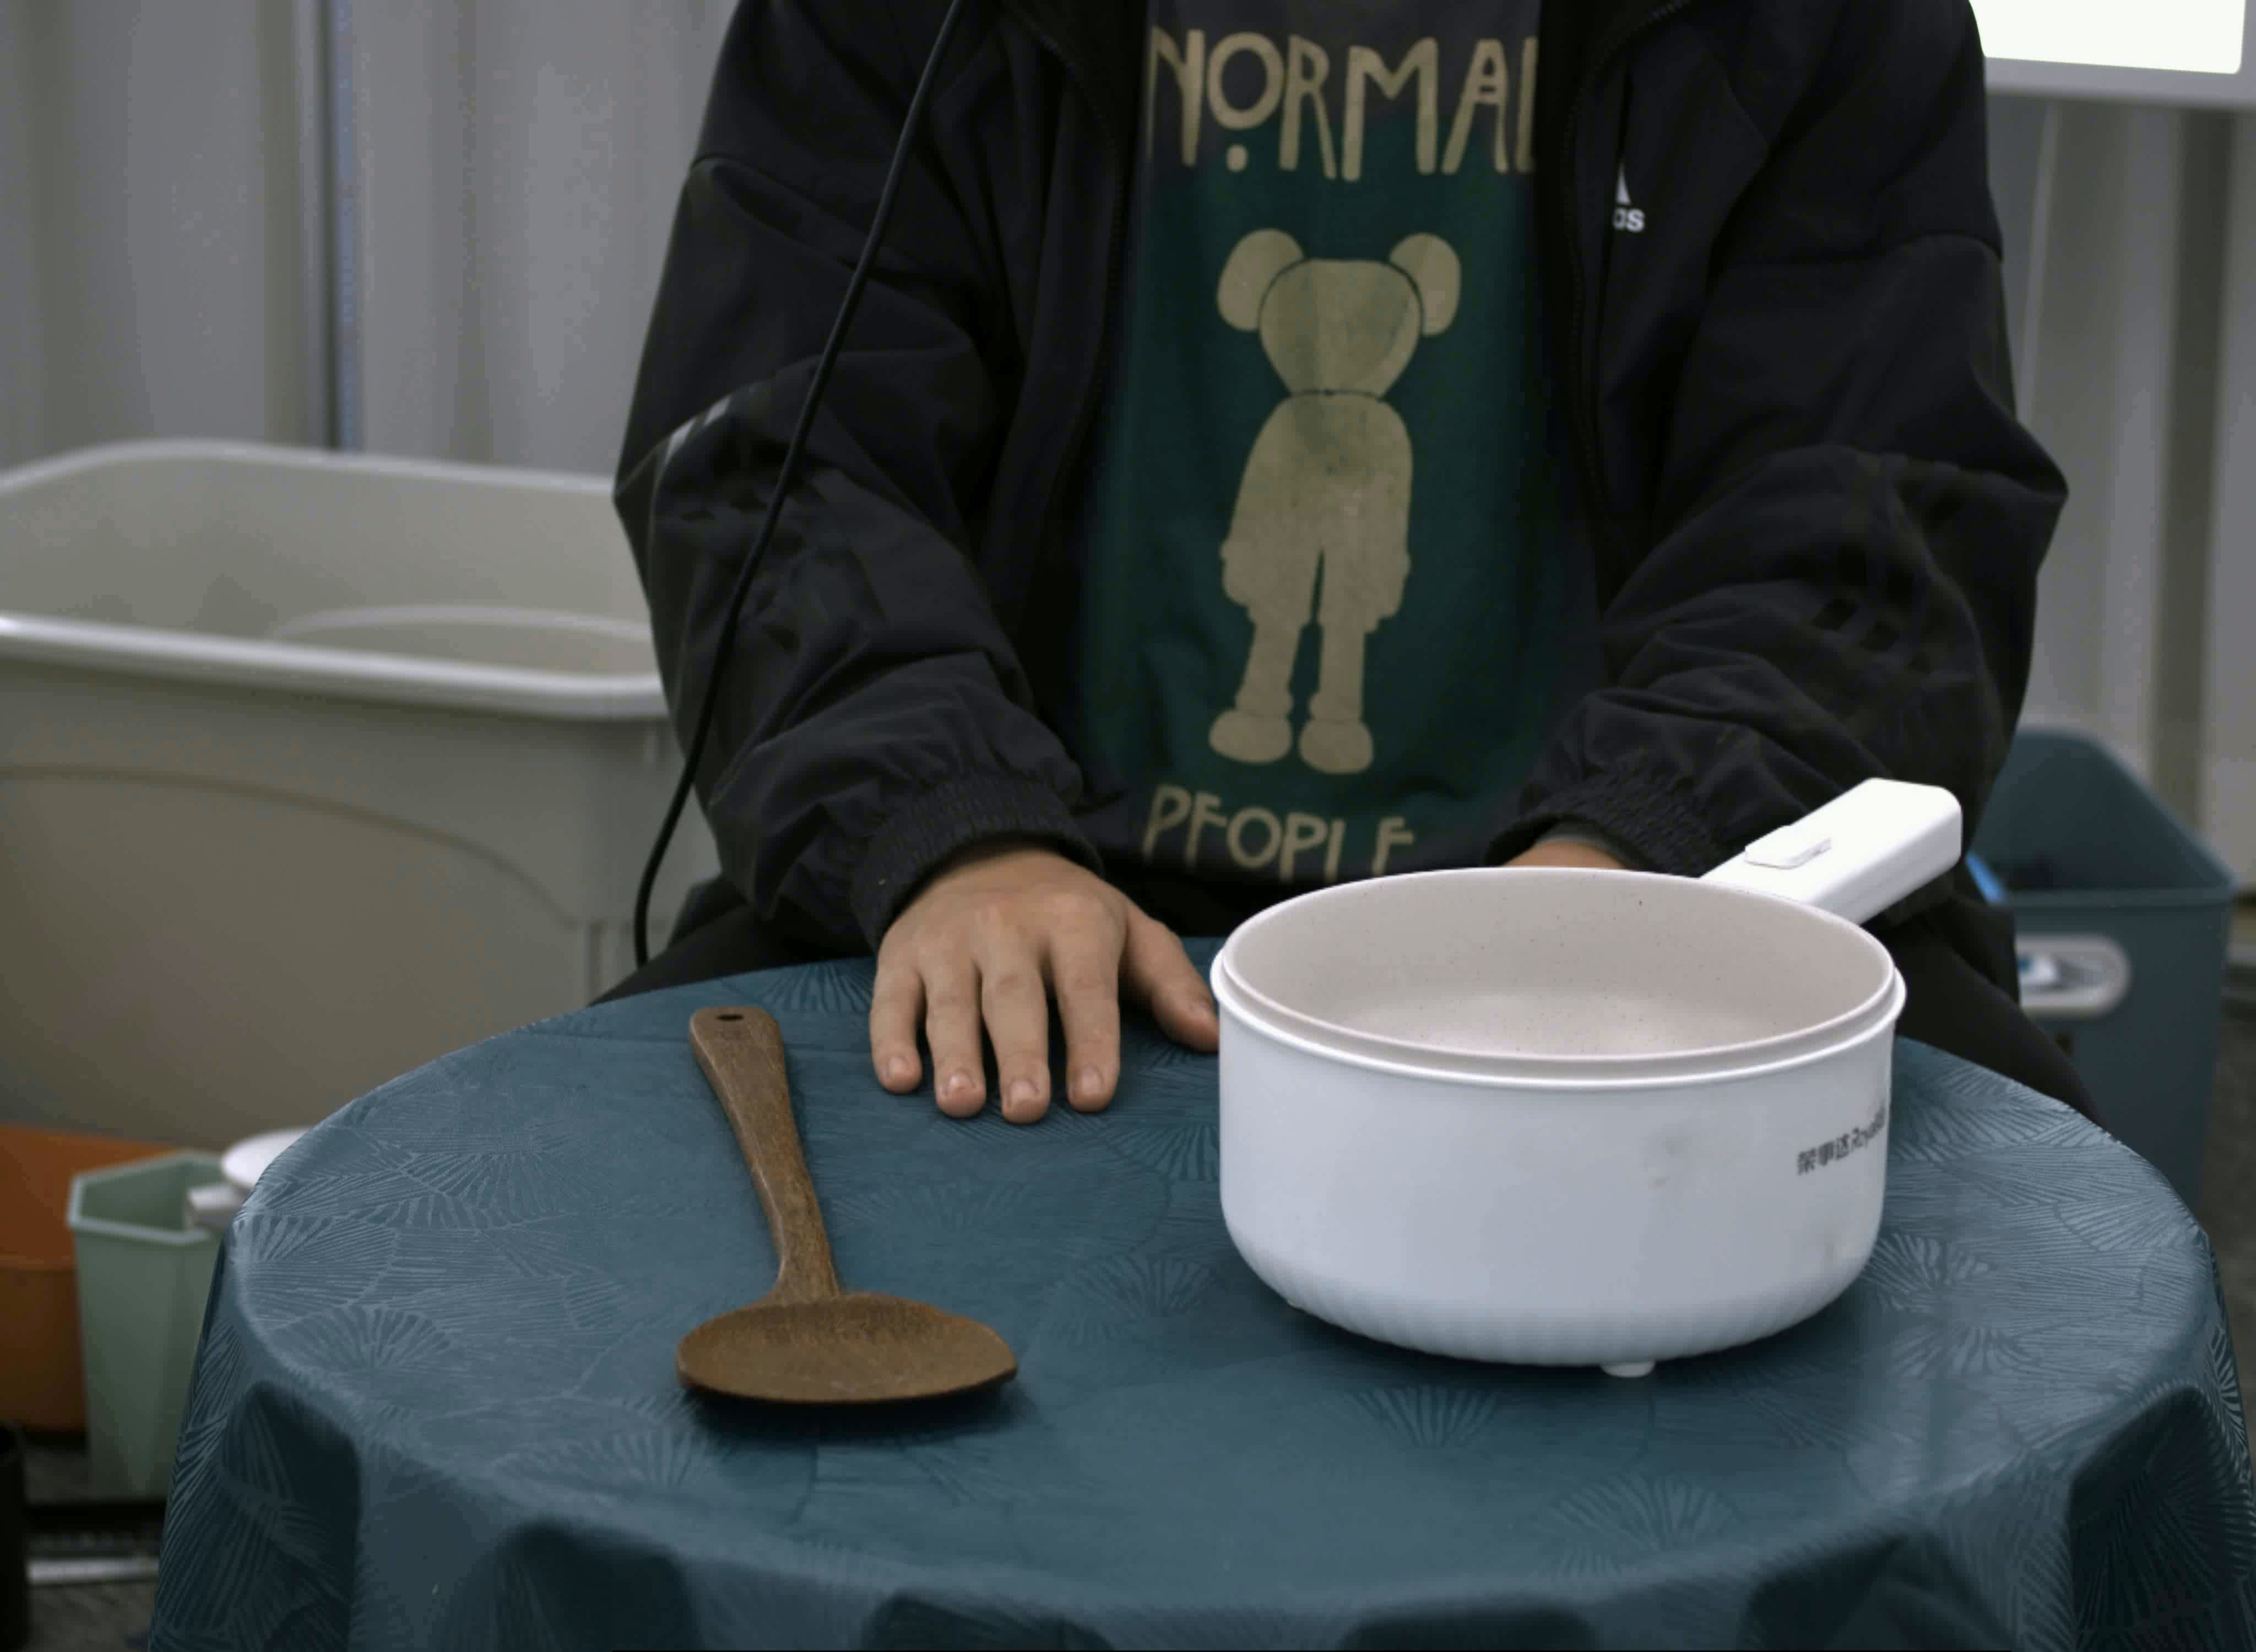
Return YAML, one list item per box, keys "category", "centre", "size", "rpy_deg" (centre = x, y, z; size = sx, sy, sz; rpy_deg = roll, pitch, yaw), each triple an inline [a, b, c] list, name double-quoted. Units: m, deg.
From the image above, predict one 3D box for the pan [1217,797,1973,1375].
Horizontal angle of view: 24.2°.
- category: "pan"
  centre: [0.165, 0.071, 1.599]
  size: [0.199, 0.103, 0.356]
  rpy_deg: [9, 16, 30]

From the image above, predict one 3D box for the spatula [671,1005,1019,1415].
- category: "spatula"
  centre: [-0.105, 0.110, 1.602]
  size: [0.096, 0.016, 0.383]
  rpy_deg: [-1, 15, -10]
